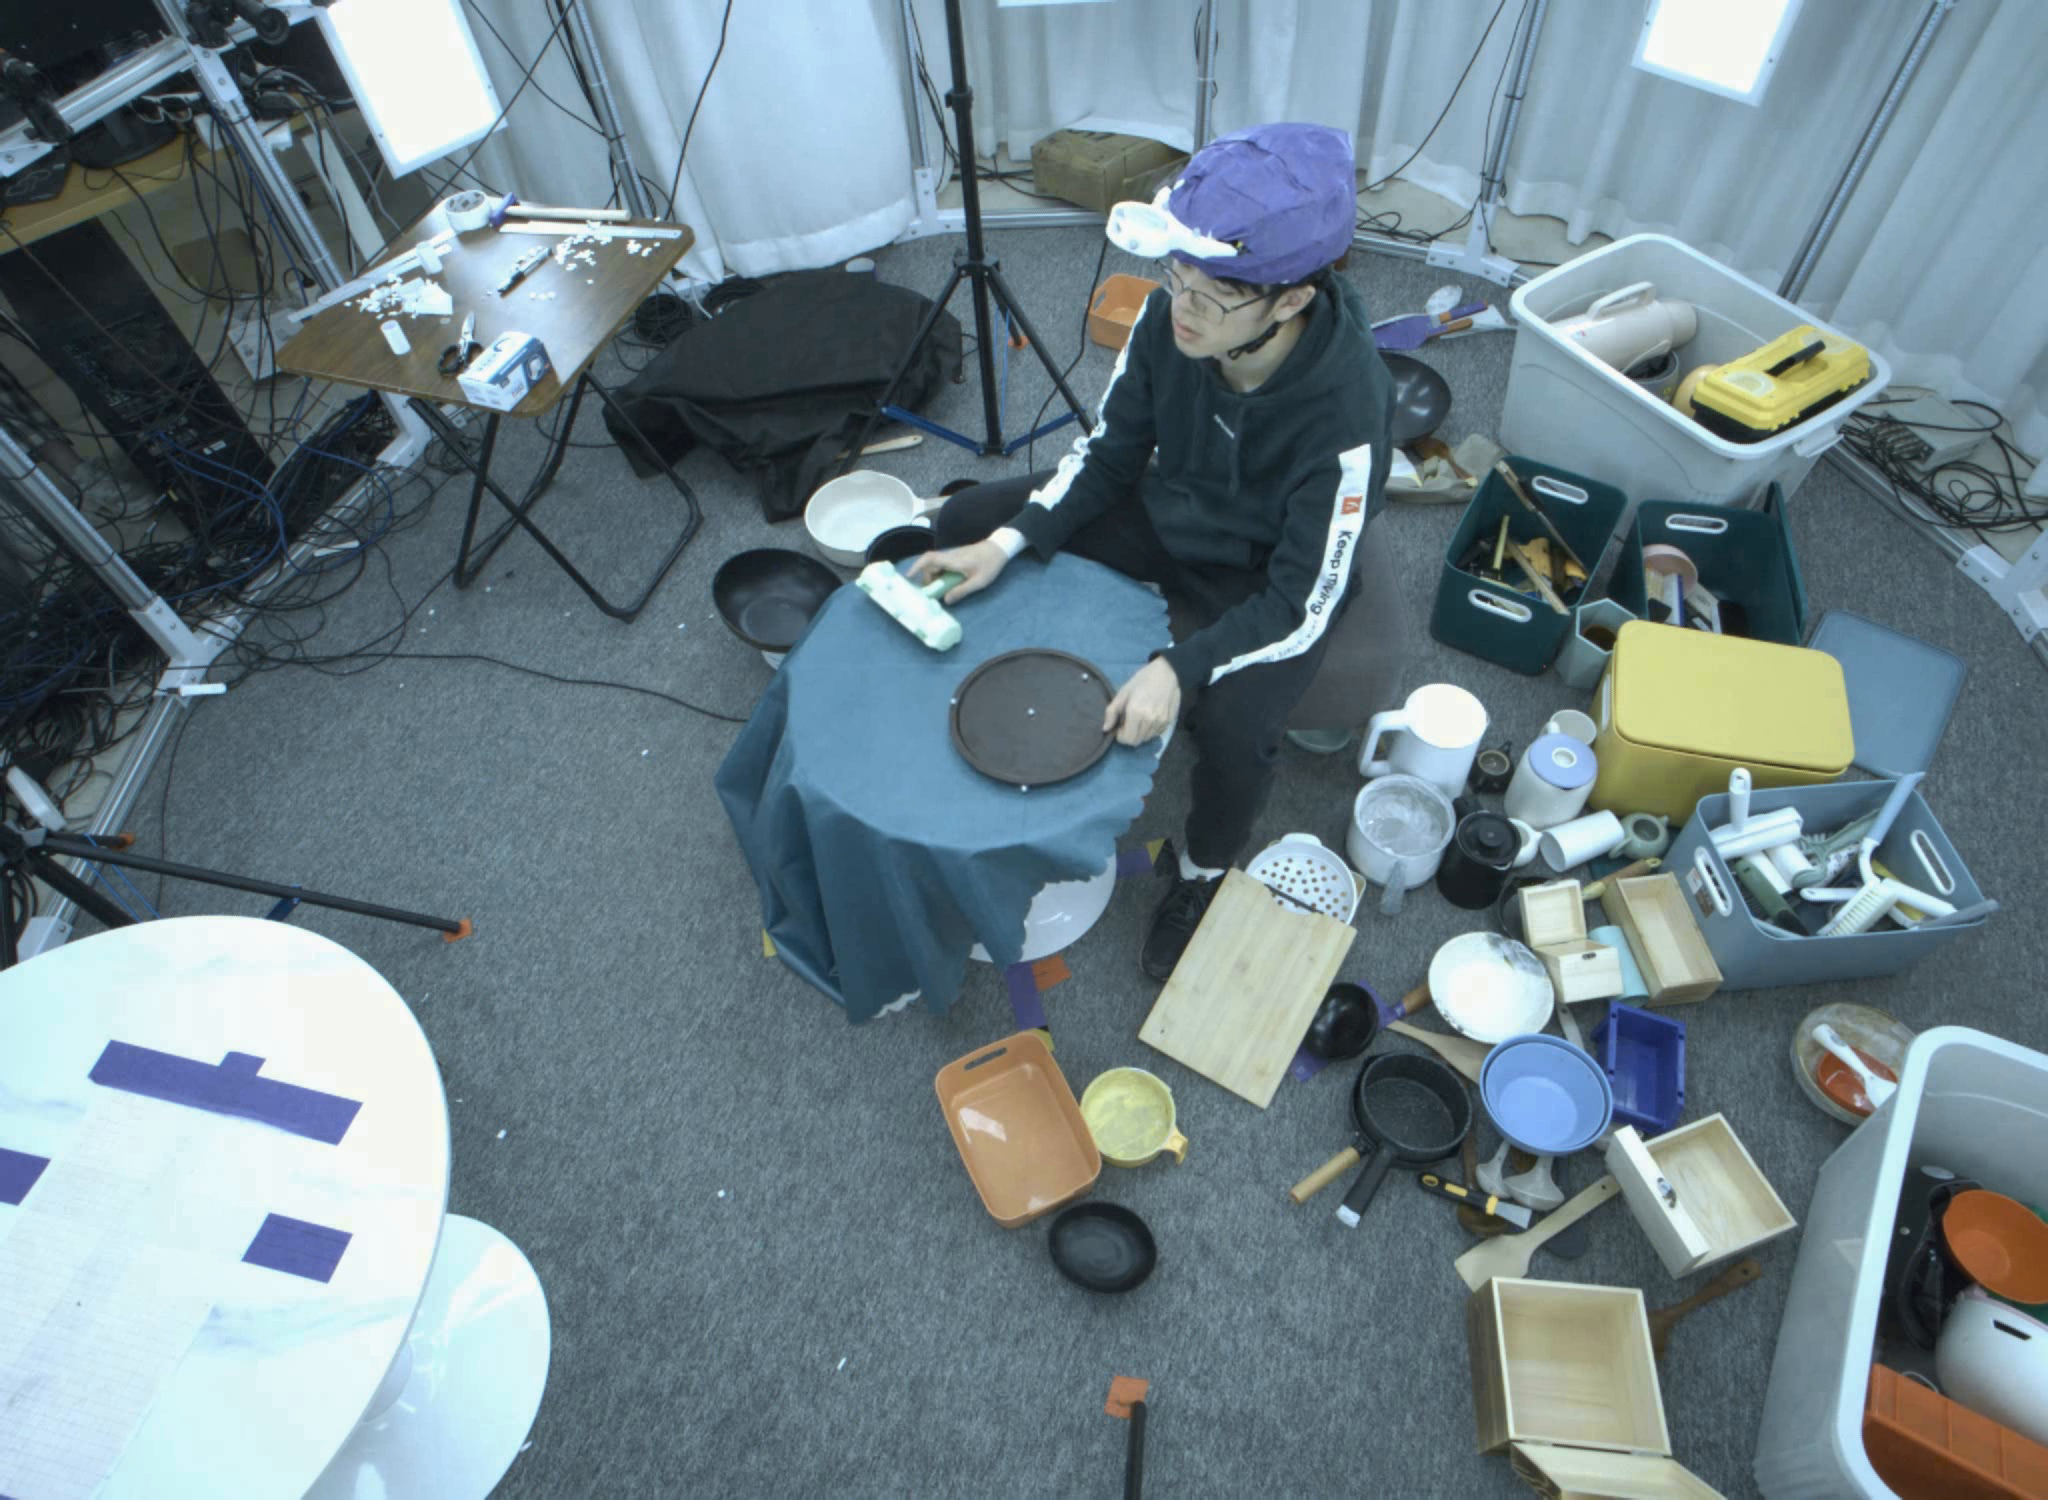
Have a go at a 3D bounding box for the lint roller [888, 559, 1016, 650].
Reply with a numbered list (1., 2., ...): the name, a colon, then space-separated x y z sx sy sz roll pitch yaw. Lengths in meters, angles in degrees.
1. lint roller: -0.089 -0.263 1.923 0.184 0.083 0.195 -38 61 -18

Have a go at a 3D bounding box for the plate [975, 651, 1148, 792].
1. plate: 0.055 -0.043 1.797 0.254 0.029 0.252 -1 54 3
